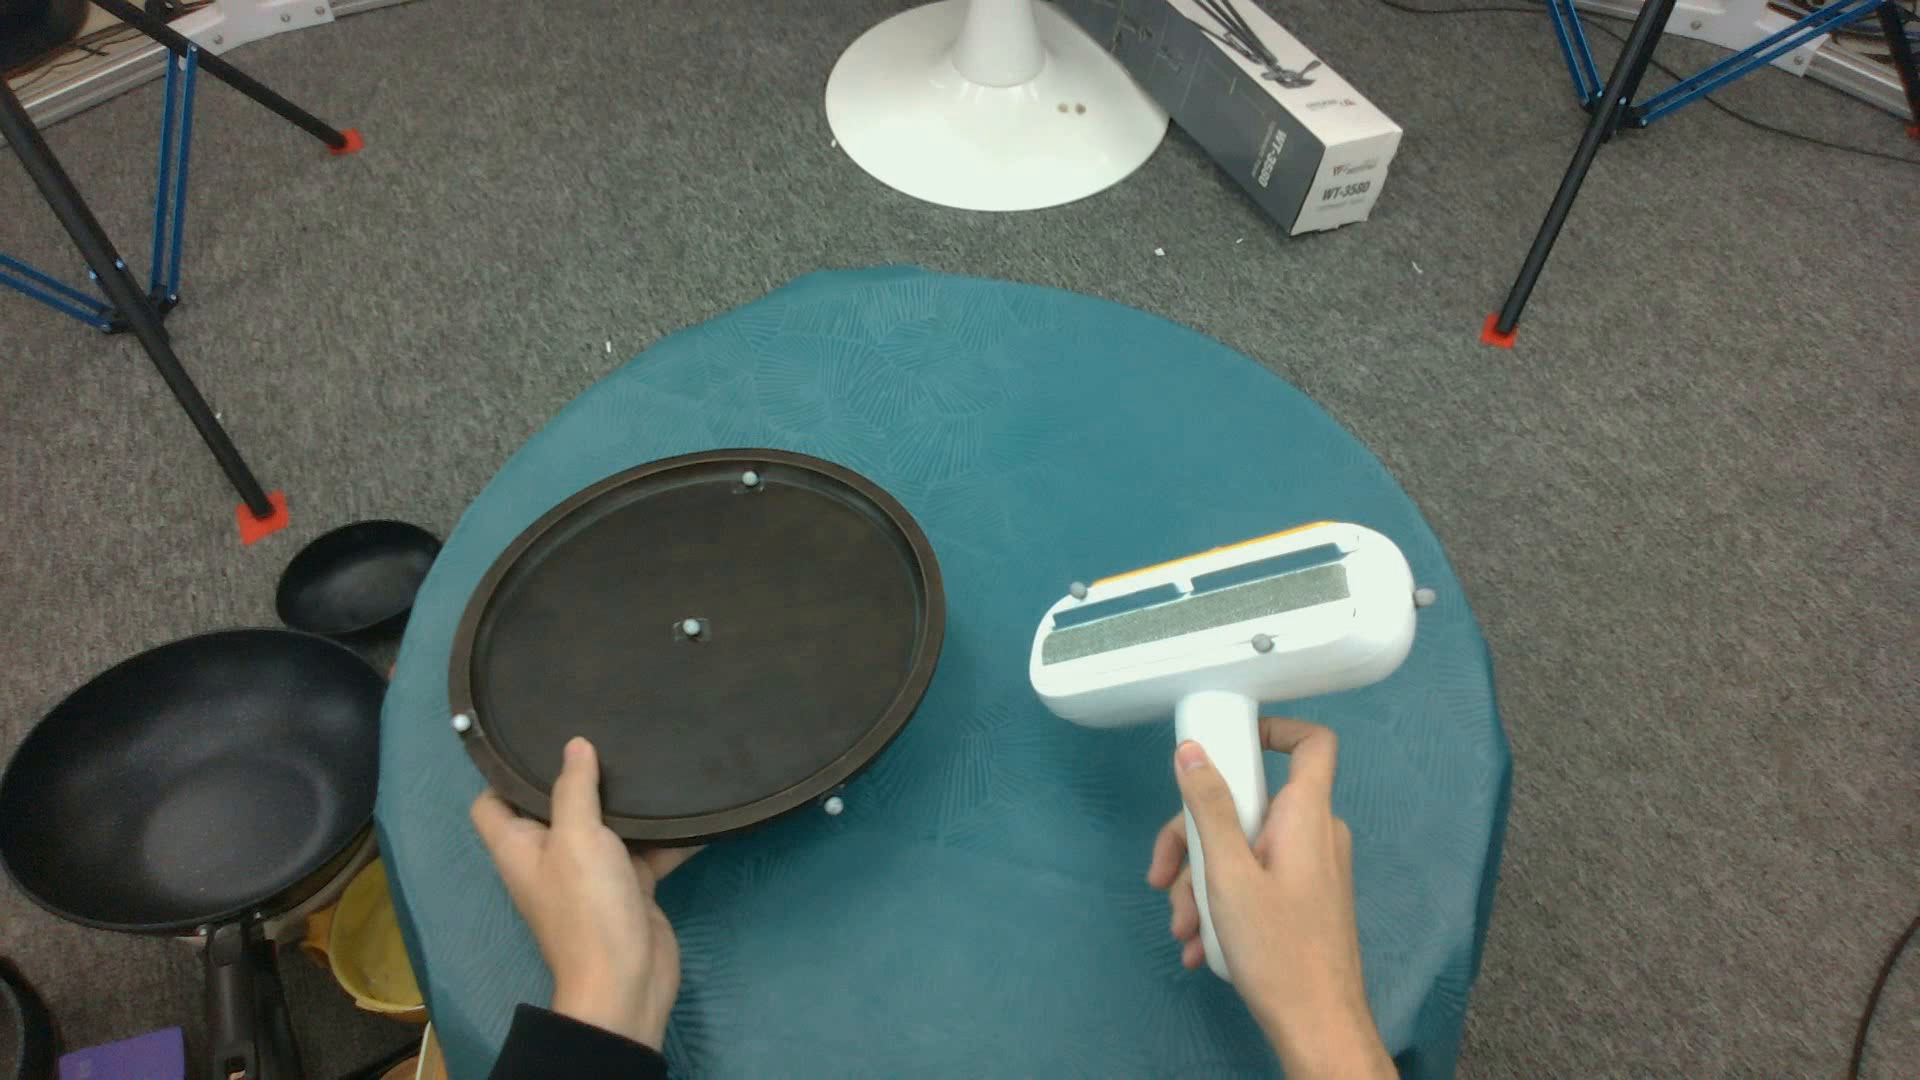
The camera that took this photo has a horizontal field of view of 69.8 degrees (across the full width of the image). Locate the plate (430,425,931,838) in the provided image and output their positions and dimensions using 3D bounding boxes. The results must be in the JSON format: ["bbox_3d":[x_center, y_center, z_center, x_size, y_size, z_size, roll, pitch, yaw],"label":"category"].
[{"bbox_3d":[-0.141,0.041,0.708,0.255,0.029,0.256,-2,49,3],"label":"plate"}]

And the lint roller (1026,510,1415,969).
[{"bbox_3d":[0.112,0.091,0.620,0.192,0.074,0.193,-10,61,36],"label":"lint roller"}]
